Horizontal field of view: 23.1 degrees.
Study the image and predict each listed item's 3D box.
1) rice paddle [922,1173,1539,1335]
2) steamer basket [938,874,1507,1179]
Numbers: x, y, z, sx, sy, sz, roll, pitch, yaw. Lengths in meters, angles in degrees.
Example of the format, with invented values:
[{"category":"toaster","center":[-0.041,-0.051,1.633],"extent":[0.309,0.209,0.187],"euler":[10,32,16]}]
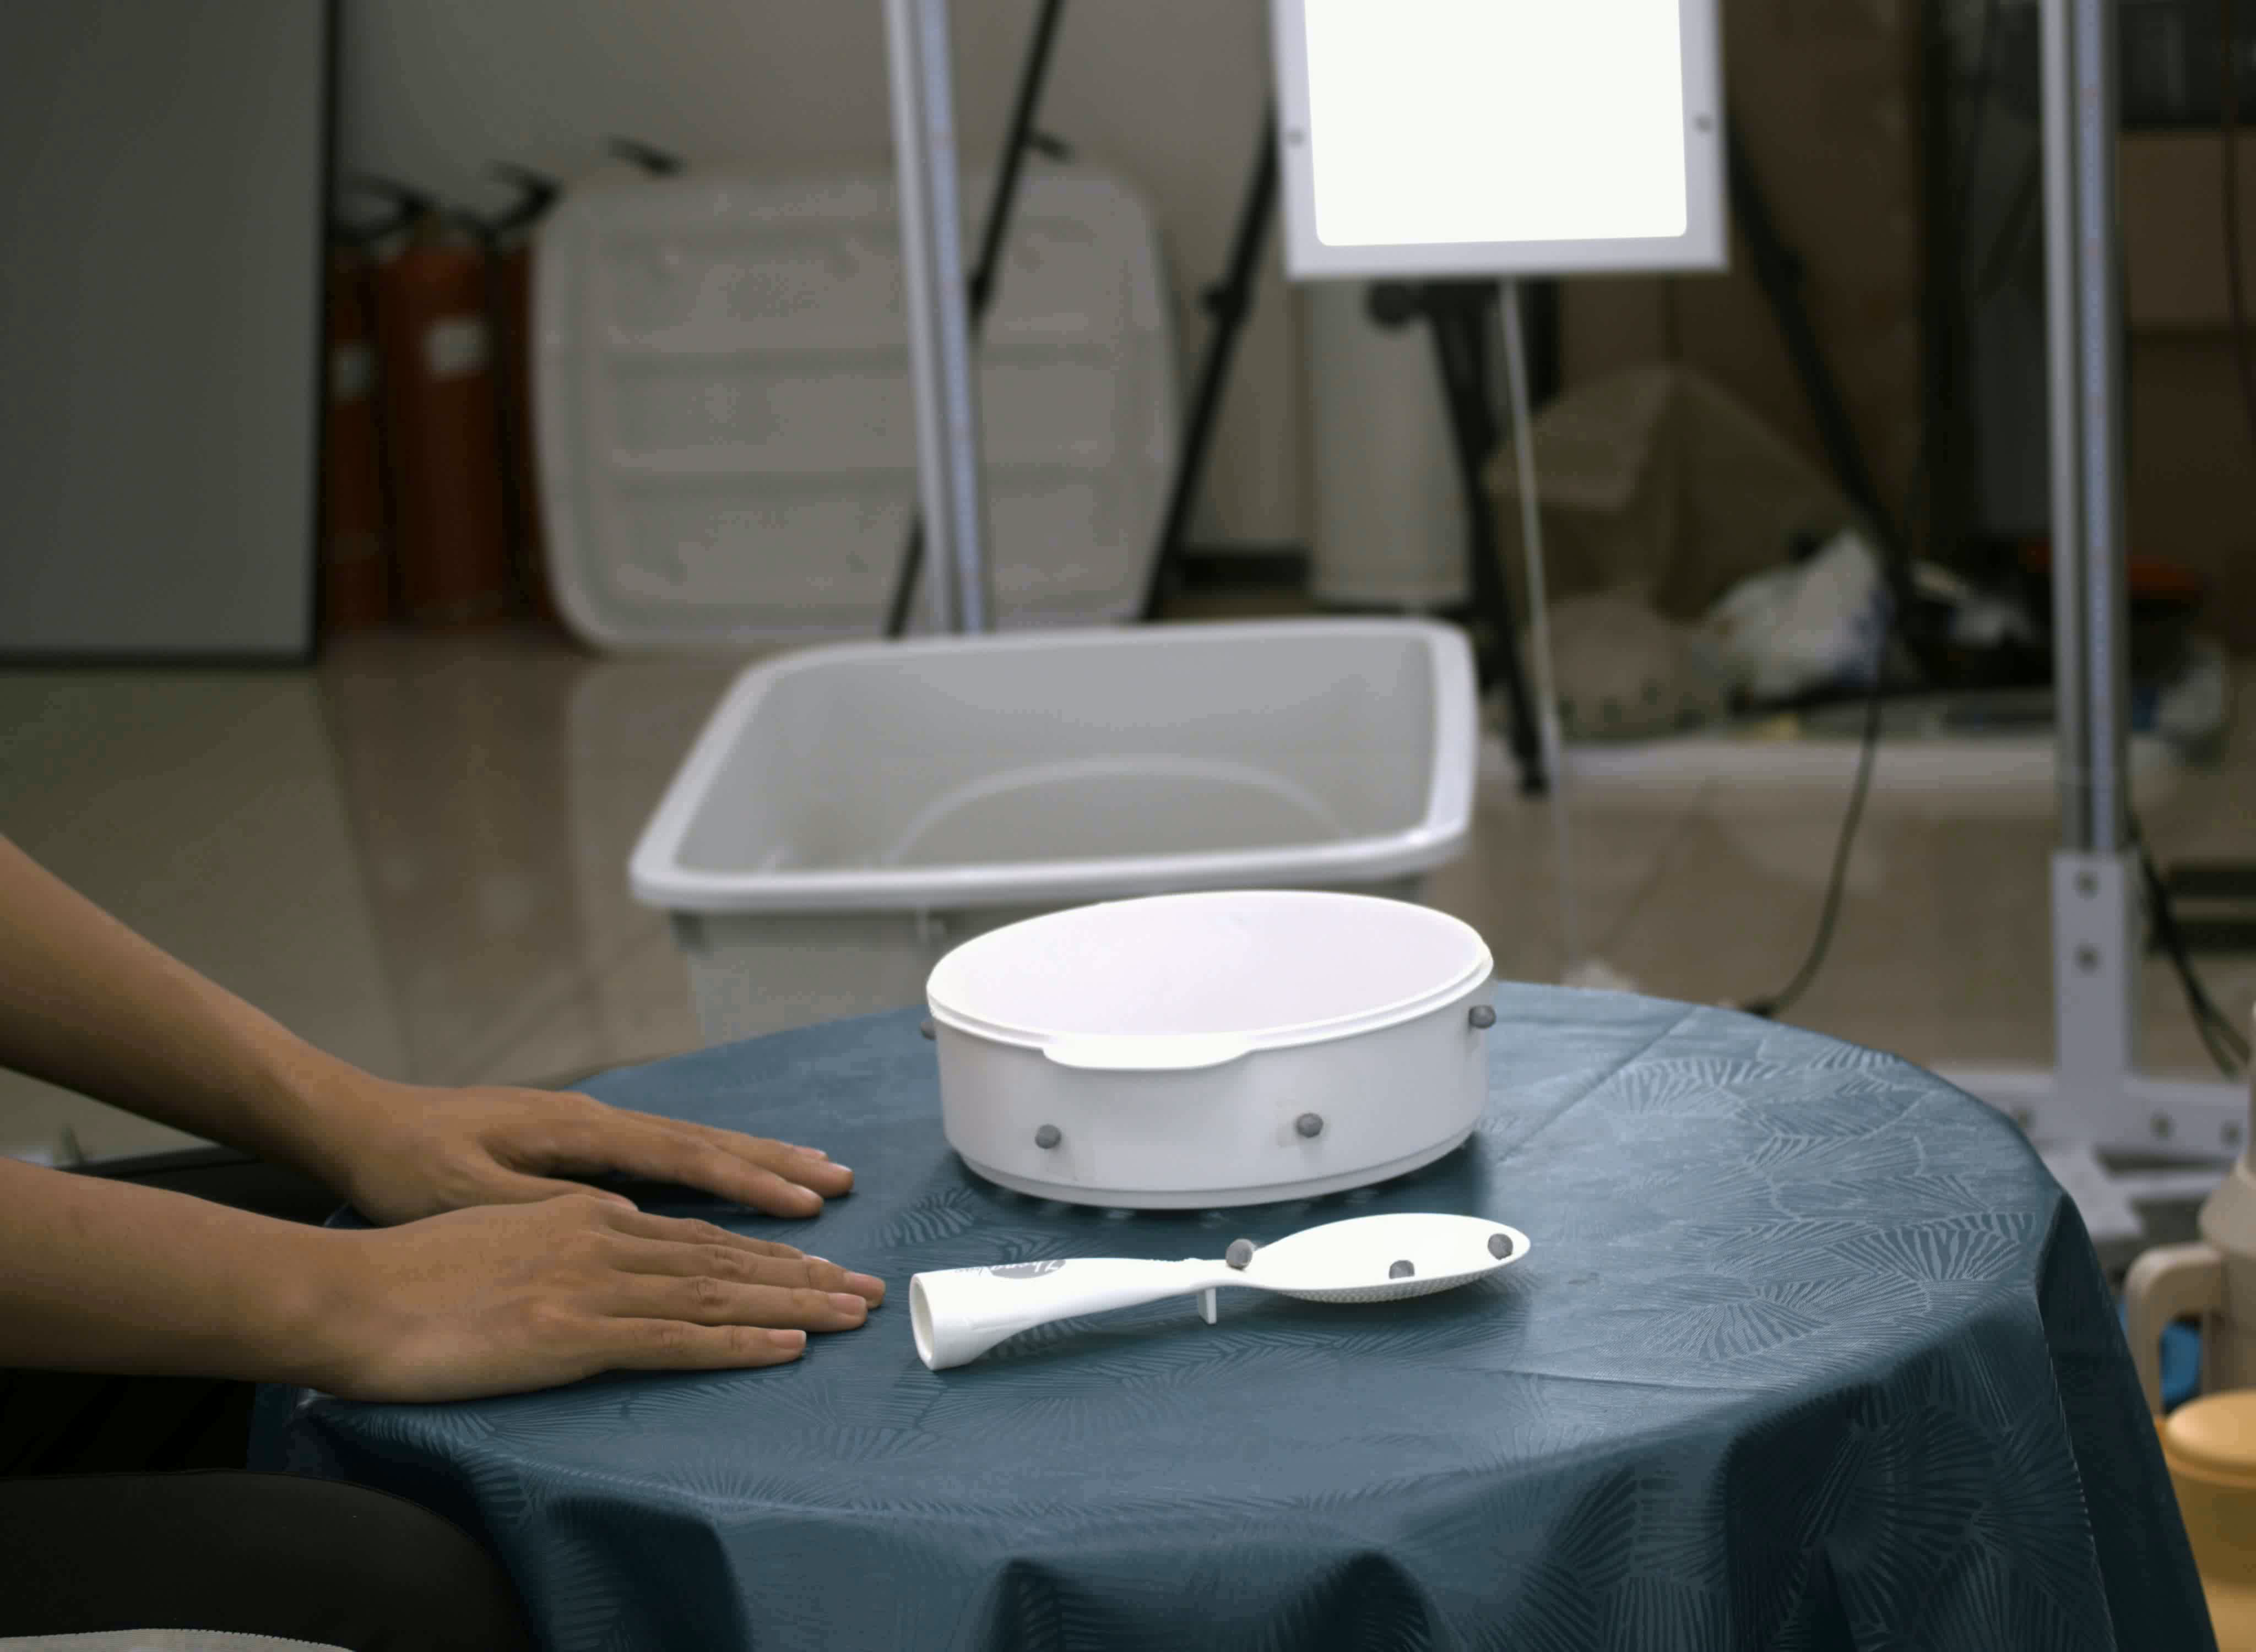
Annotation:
[{"category":"rice paddle","center":[0.035,0.132,1.770],"extent":[0.202,0.029,0.069],"euler":[-8,15,-13]},{"category":"steamer basket","center":[0.035,0.071,1.950],"extent":[0.204,0.069,0.227],"euler":[0,13,16]}]
